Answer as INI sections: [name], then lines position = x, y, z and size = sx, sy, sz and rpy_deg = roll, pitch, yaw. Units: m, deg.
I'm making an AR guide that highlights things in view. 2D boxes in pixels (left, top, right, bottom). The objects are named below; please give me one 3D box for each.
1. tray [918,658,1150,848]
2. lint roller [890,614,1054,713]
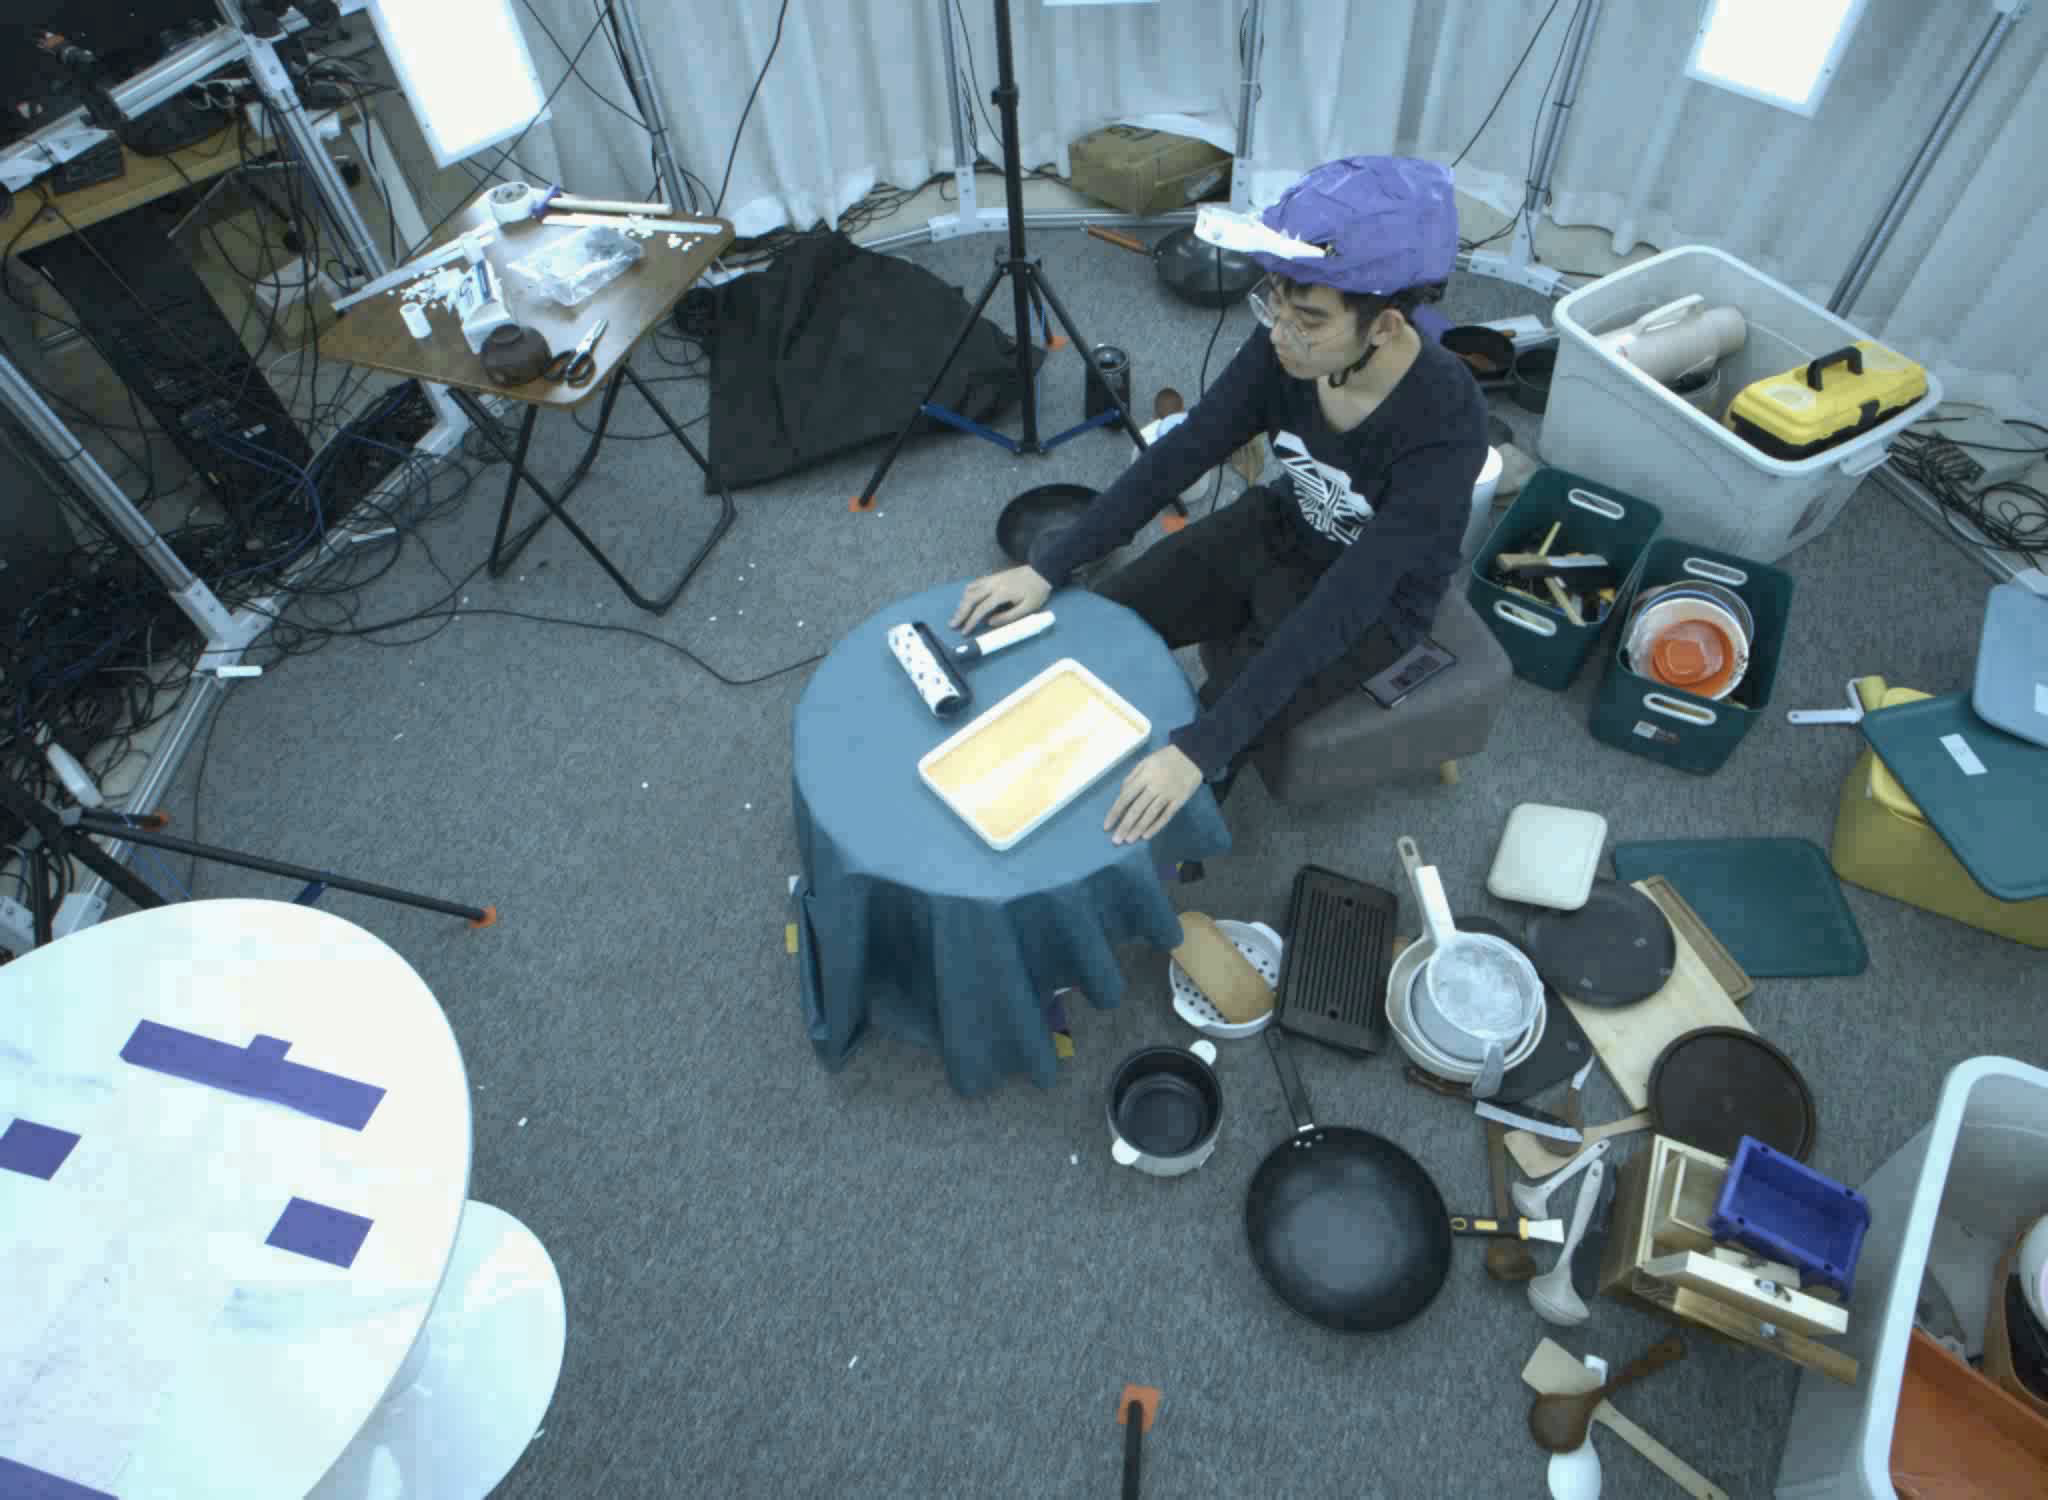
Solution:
[tray]
position = 0.016, -0.002, 1.779
size = 0.302, 0.028, 0.188
rpy_deg = -36, 61, -22
[lint roller]
position = -0.064, -0.165, 1.889
size = 0.249, 0.051, 0.173
rpy_deg = -25, 57, -18
